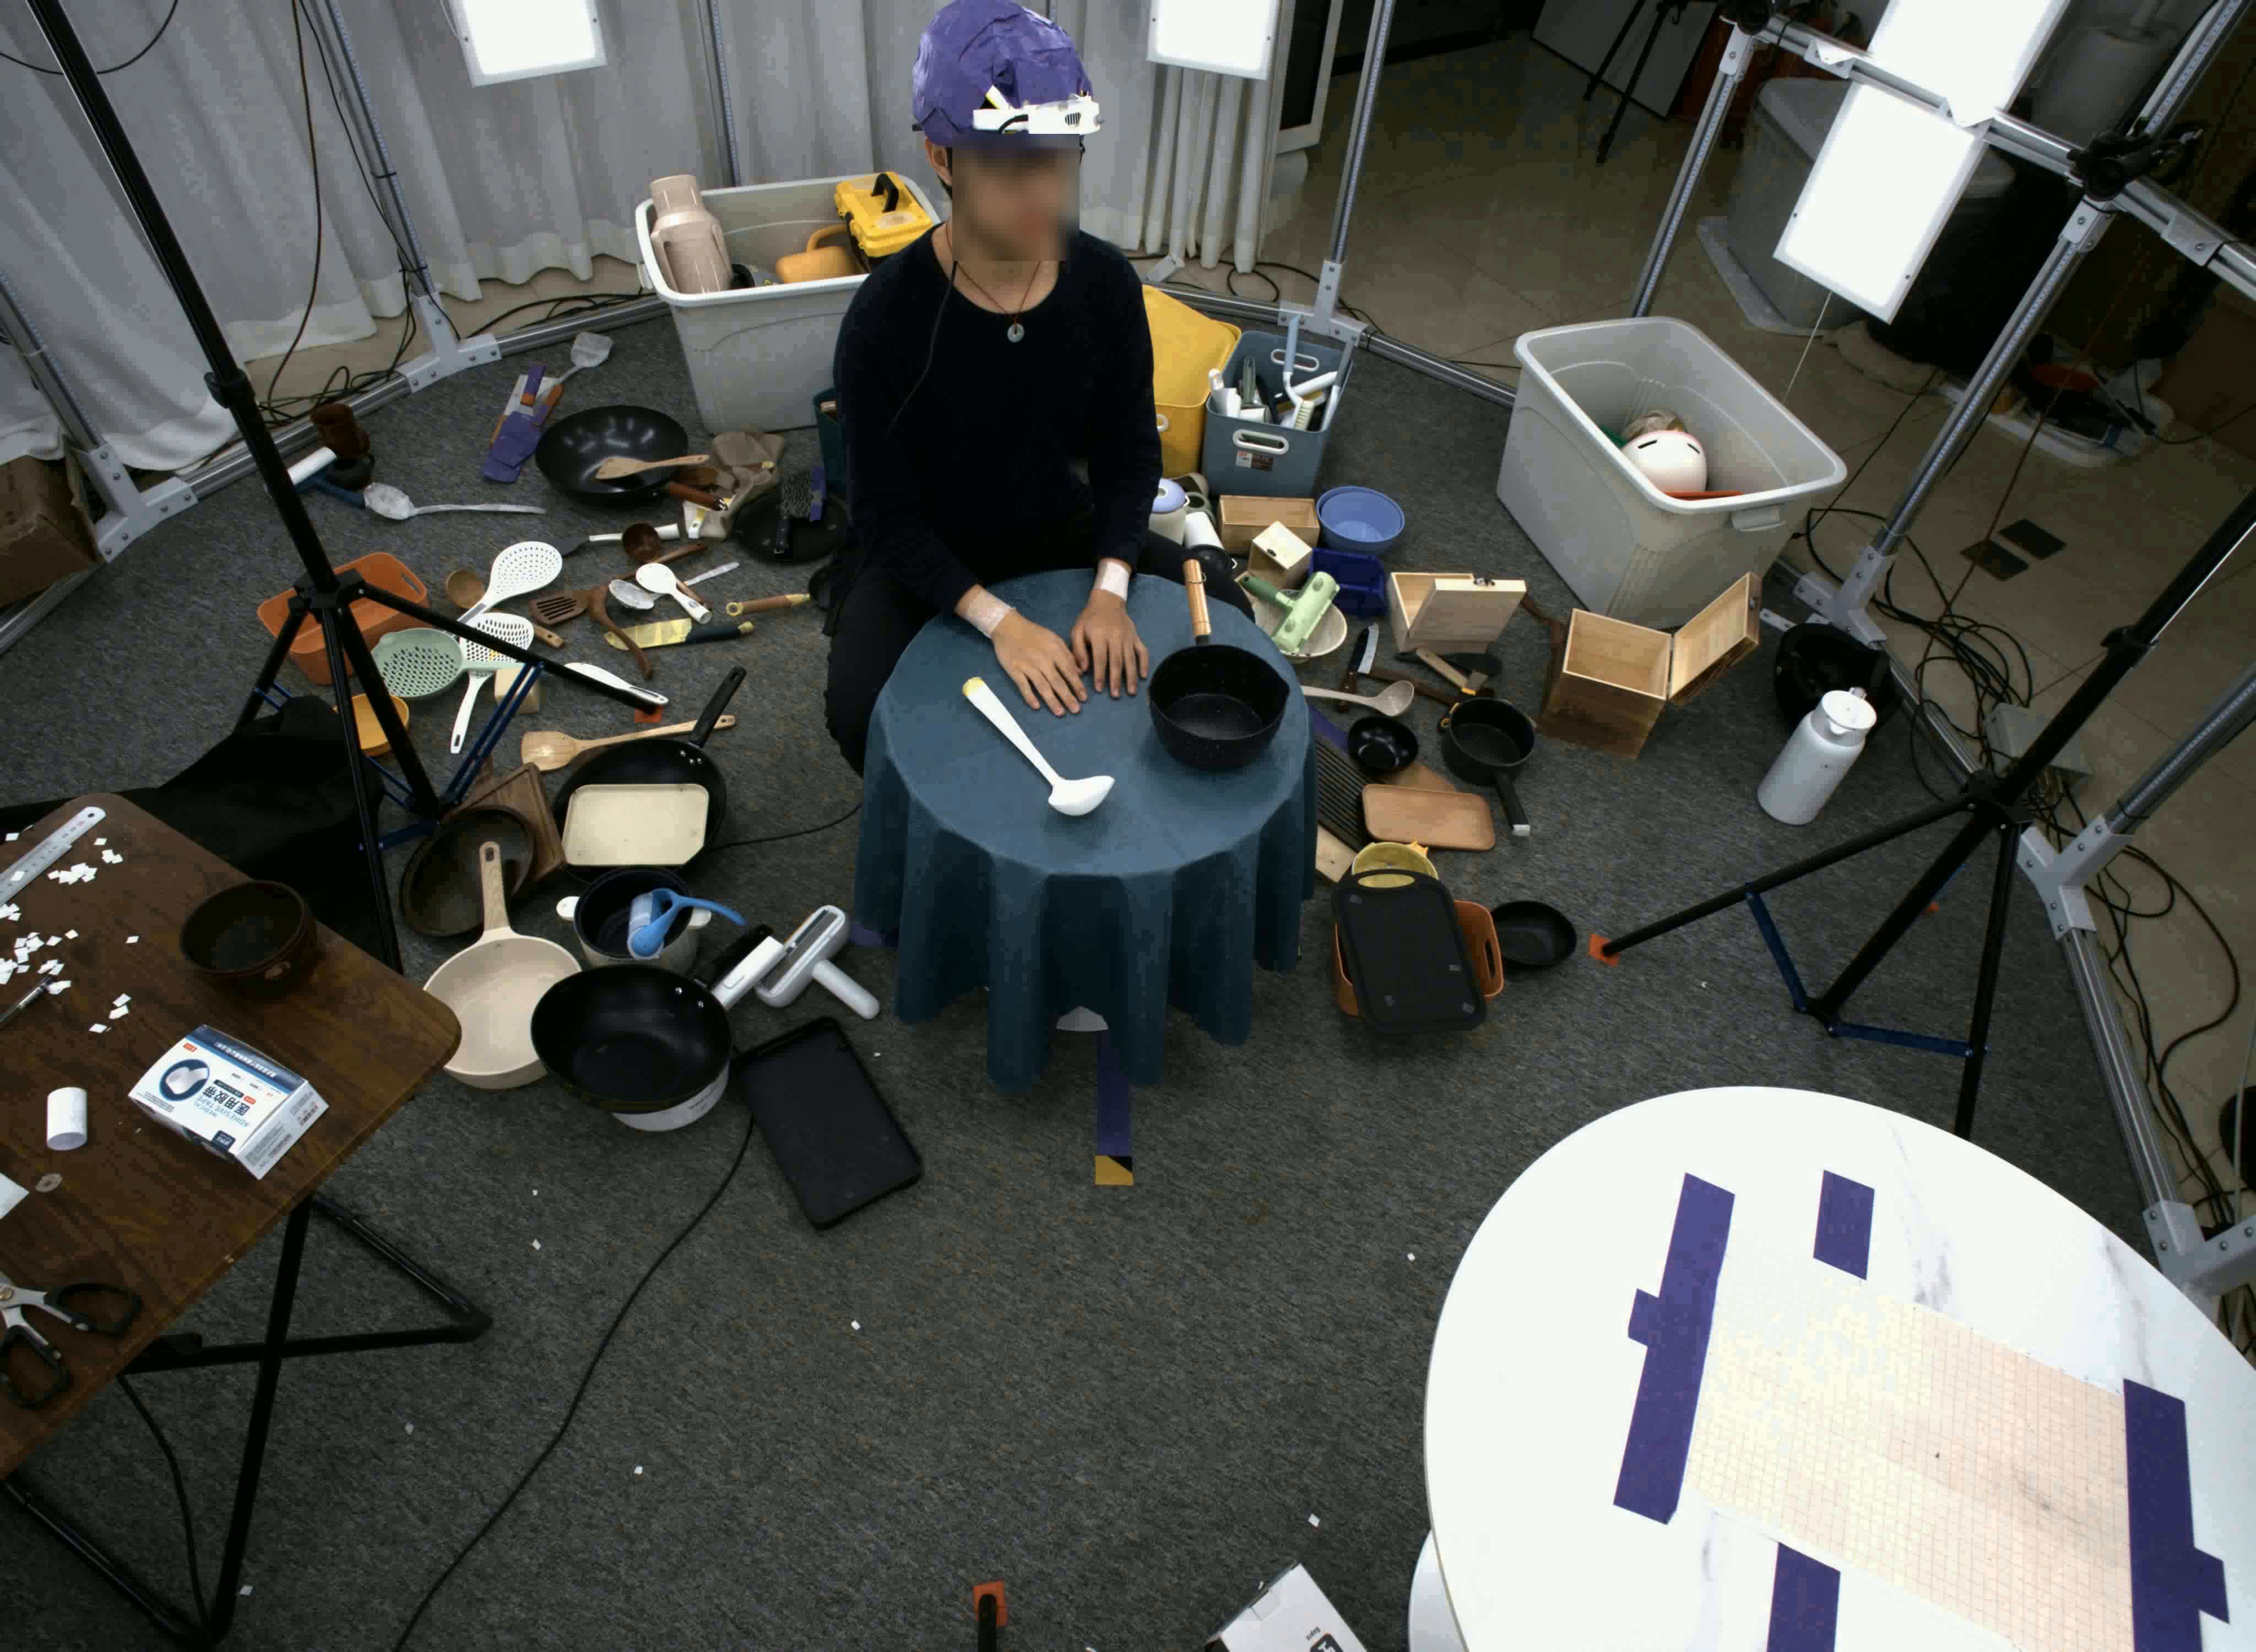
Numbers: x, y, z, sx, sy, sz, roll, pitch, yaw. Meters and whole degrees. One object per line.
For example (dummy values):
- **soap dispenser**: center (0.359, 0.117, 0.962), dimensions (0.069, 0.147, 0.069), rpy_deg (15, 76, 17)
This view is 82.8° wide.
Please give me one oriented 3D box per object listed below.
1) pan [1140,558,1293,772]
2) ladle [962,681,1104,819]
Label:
- **pan**: center (0.108, -0.226, 1.803), dimensions (0.207, 0.105, 0.351), rpy_deg (-5, 51, -7)
- **ladle**: center (-0.137, -0.110, 1.714), dimensions (0.090, 0.068, 0.299), rpy_deg (-30, 56, -18)
